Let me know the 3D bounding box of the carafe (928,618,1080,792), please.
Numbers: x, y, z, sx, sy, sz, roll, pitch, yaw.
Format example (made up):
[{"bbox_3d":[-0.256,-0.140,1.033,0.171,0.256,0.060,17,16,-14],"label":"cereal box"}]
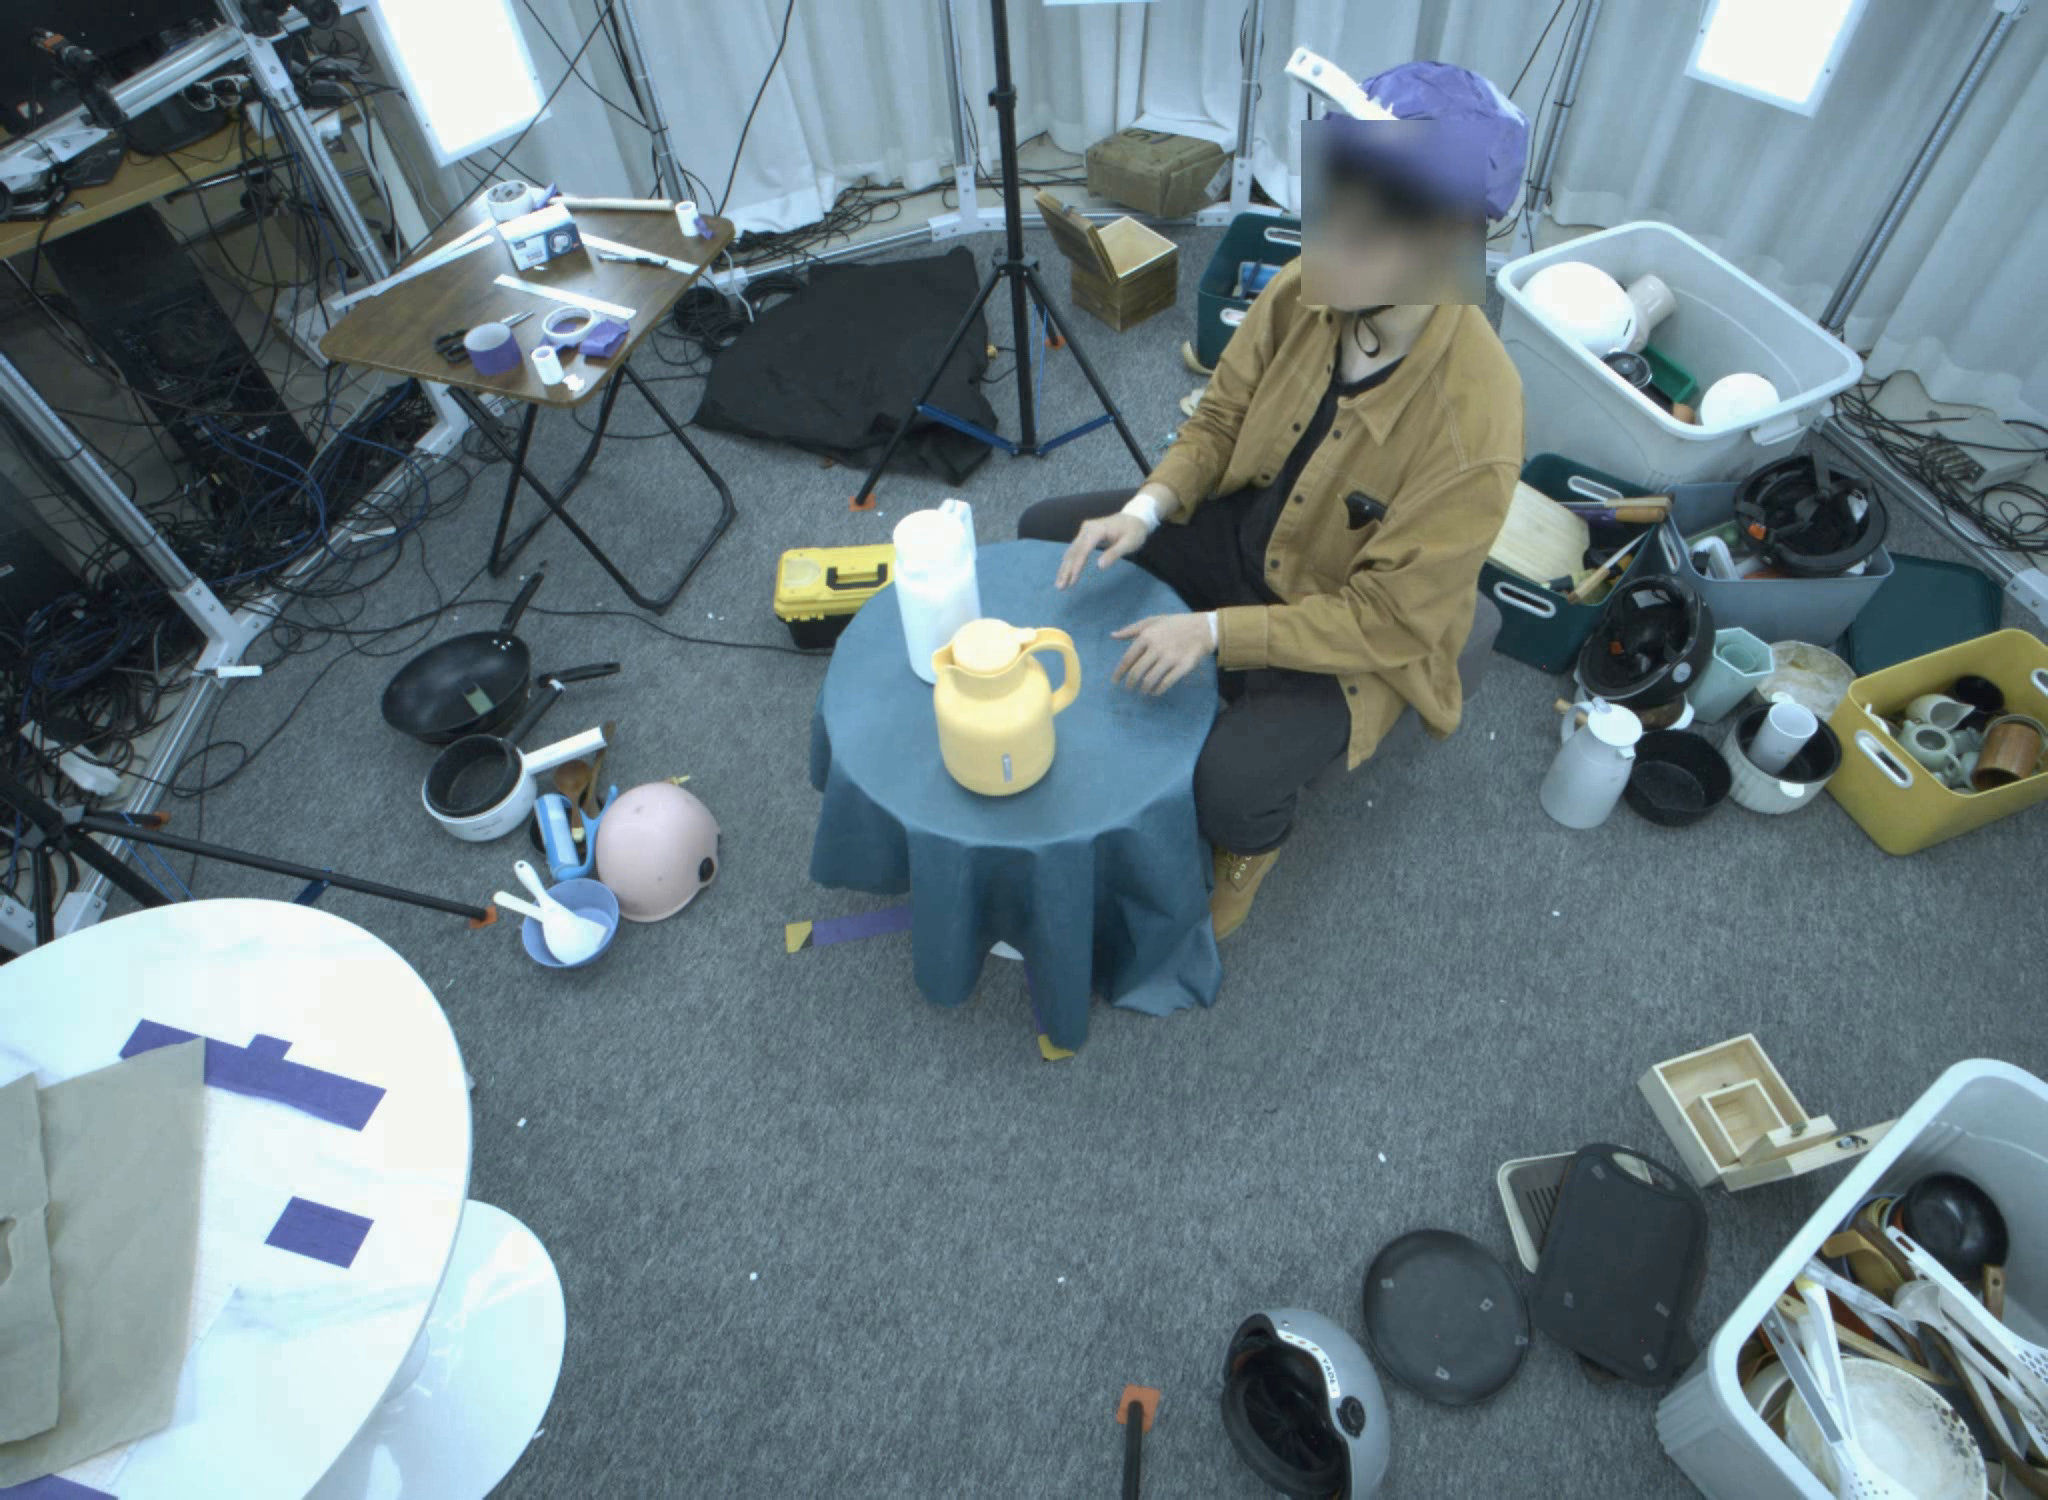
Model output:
[{"bbox_3d":[-0.023,-0.069,1.670,0.203,0.263,0.161,-13,57,-4],"label":"carafe"}]

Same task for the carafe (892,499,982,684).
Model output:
[{"bbox_3d":[-0.120,-0.232,1.788,0.122,0.272,0.172,15,56,16],"label":"carafe"}]
